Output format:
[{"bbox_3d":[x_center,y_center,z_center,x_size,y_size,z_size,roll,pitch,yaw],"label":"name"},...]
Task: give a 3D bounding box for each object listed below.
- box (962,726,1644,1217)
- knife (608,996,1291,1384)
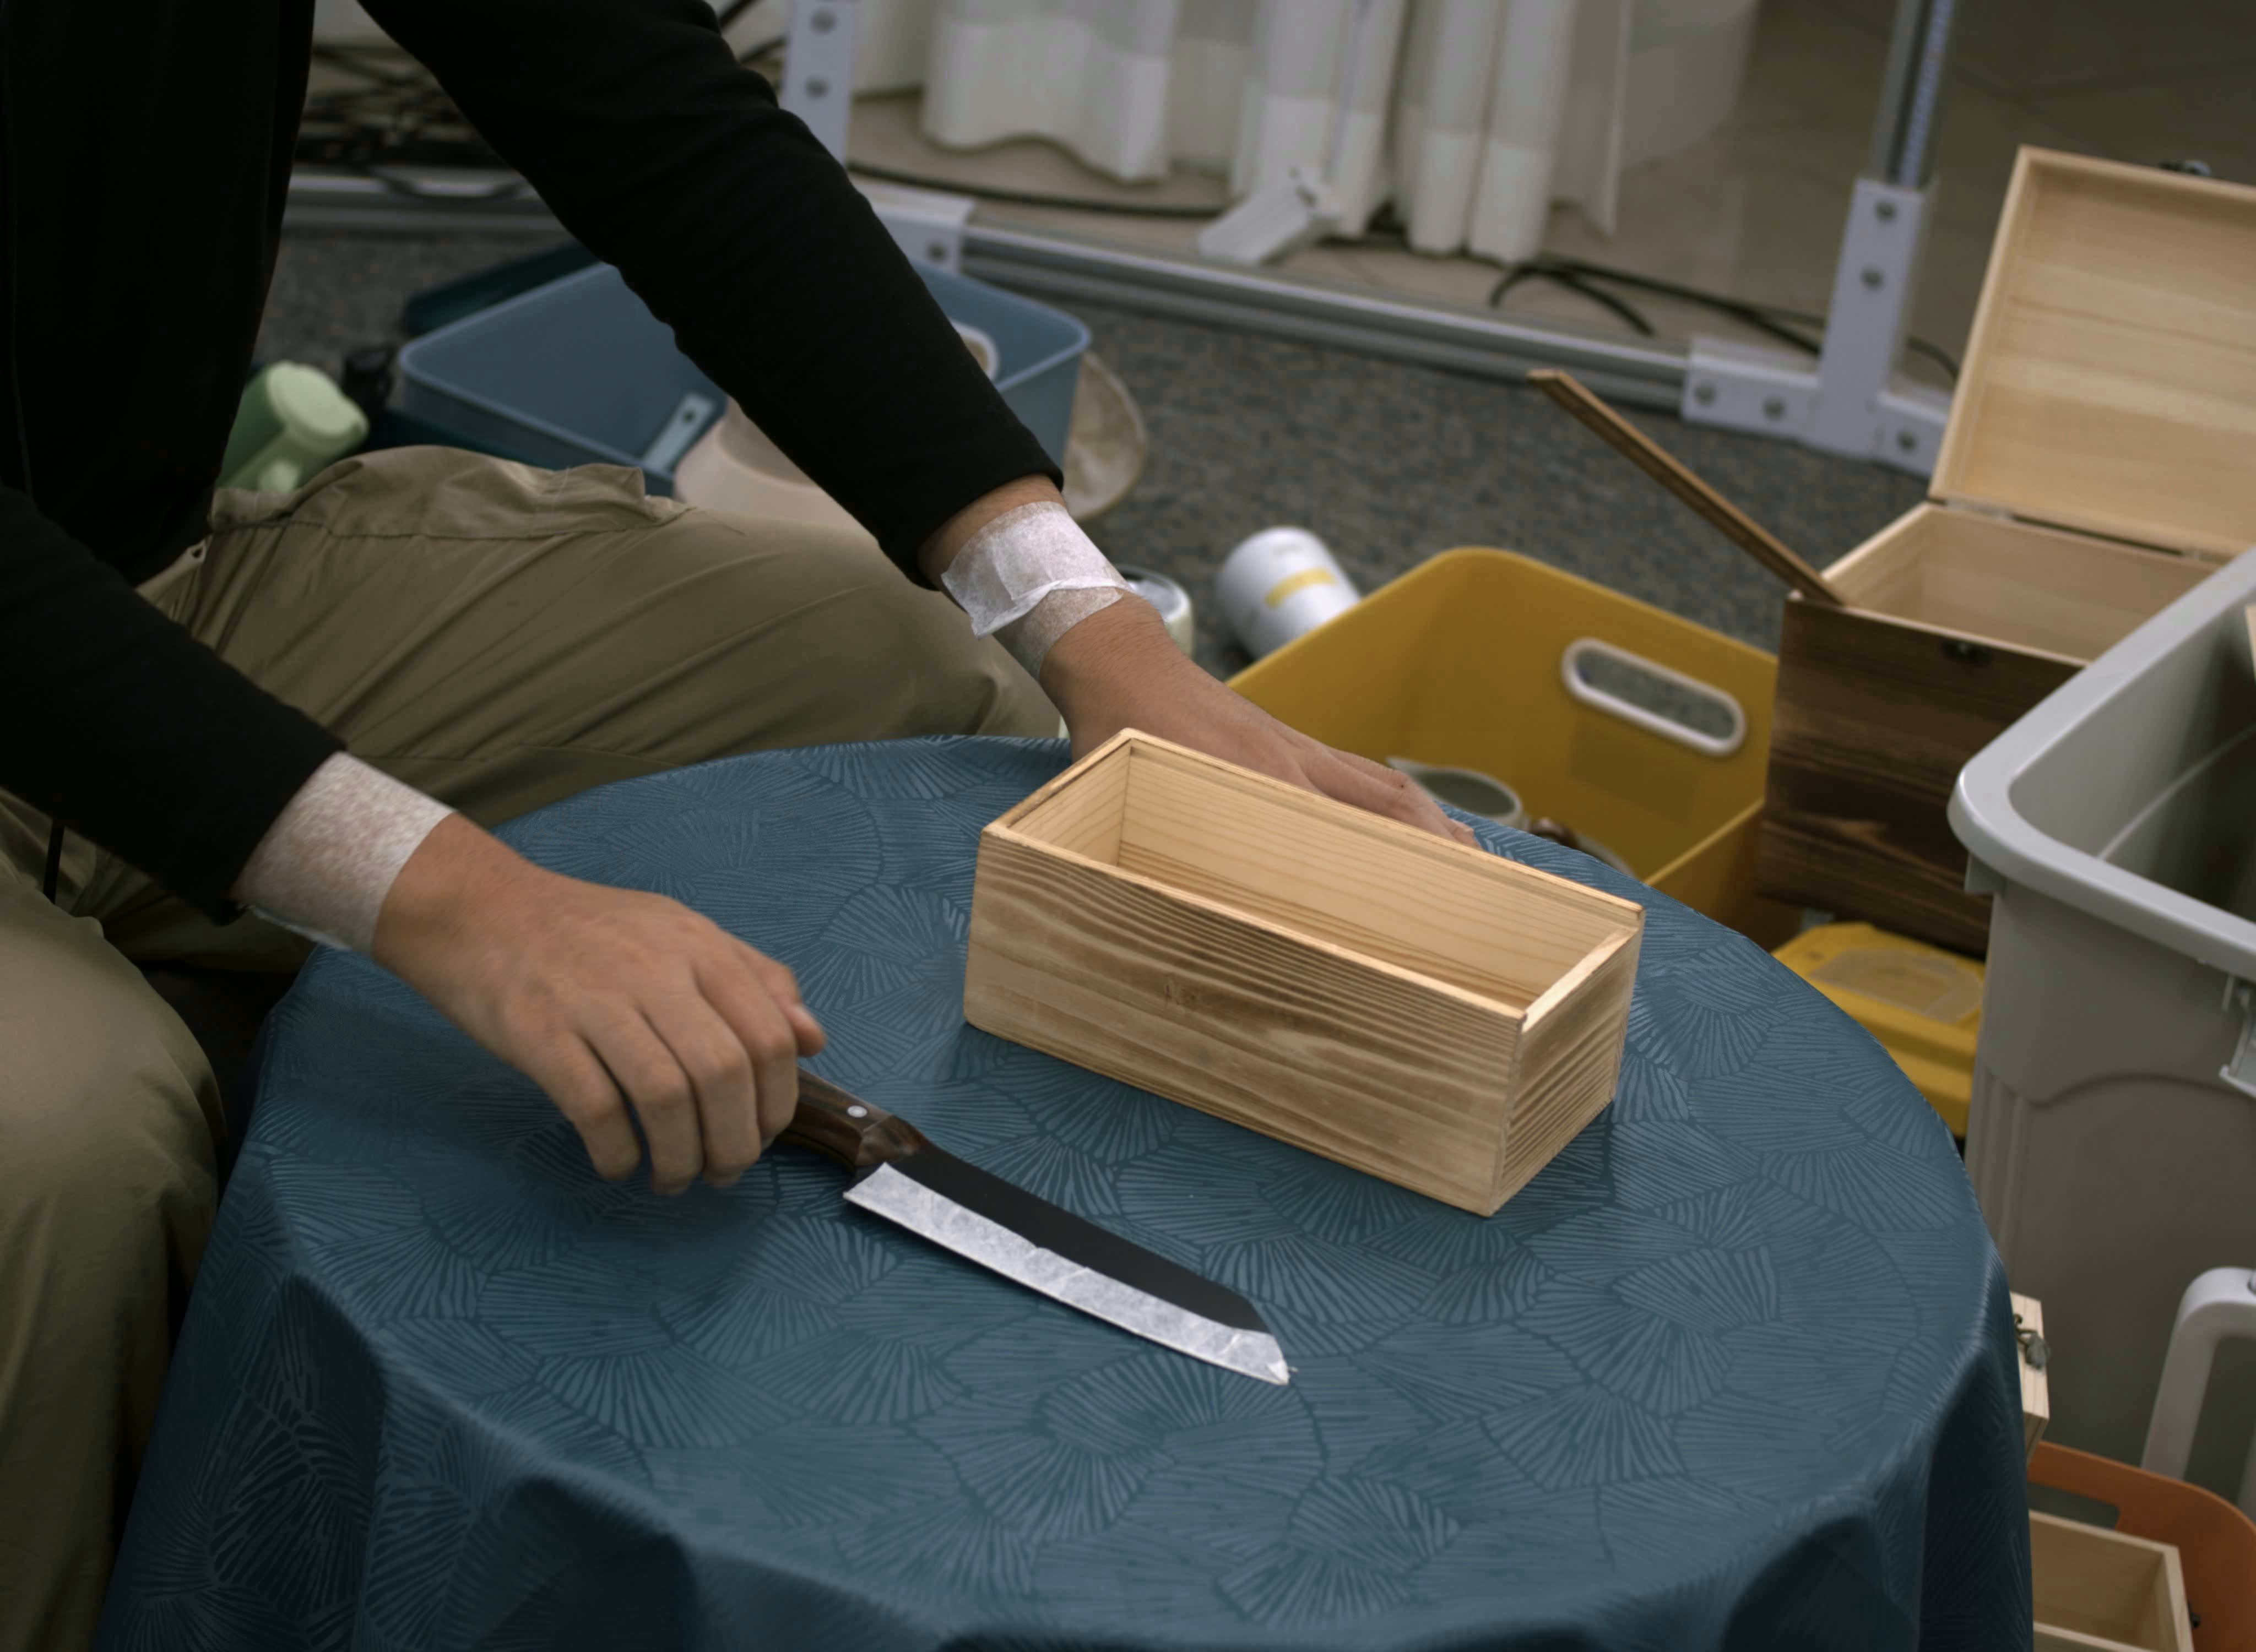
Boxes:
[{"bbox_3d":[0.060,0.048,1.876,0.212,0.080,0.107,20,29,23],"label":"box"},{"bbox_3d":[-0.063,0.122,1.775,0.291,0.020,0.050,26,37,28],"label":"knife"}]
